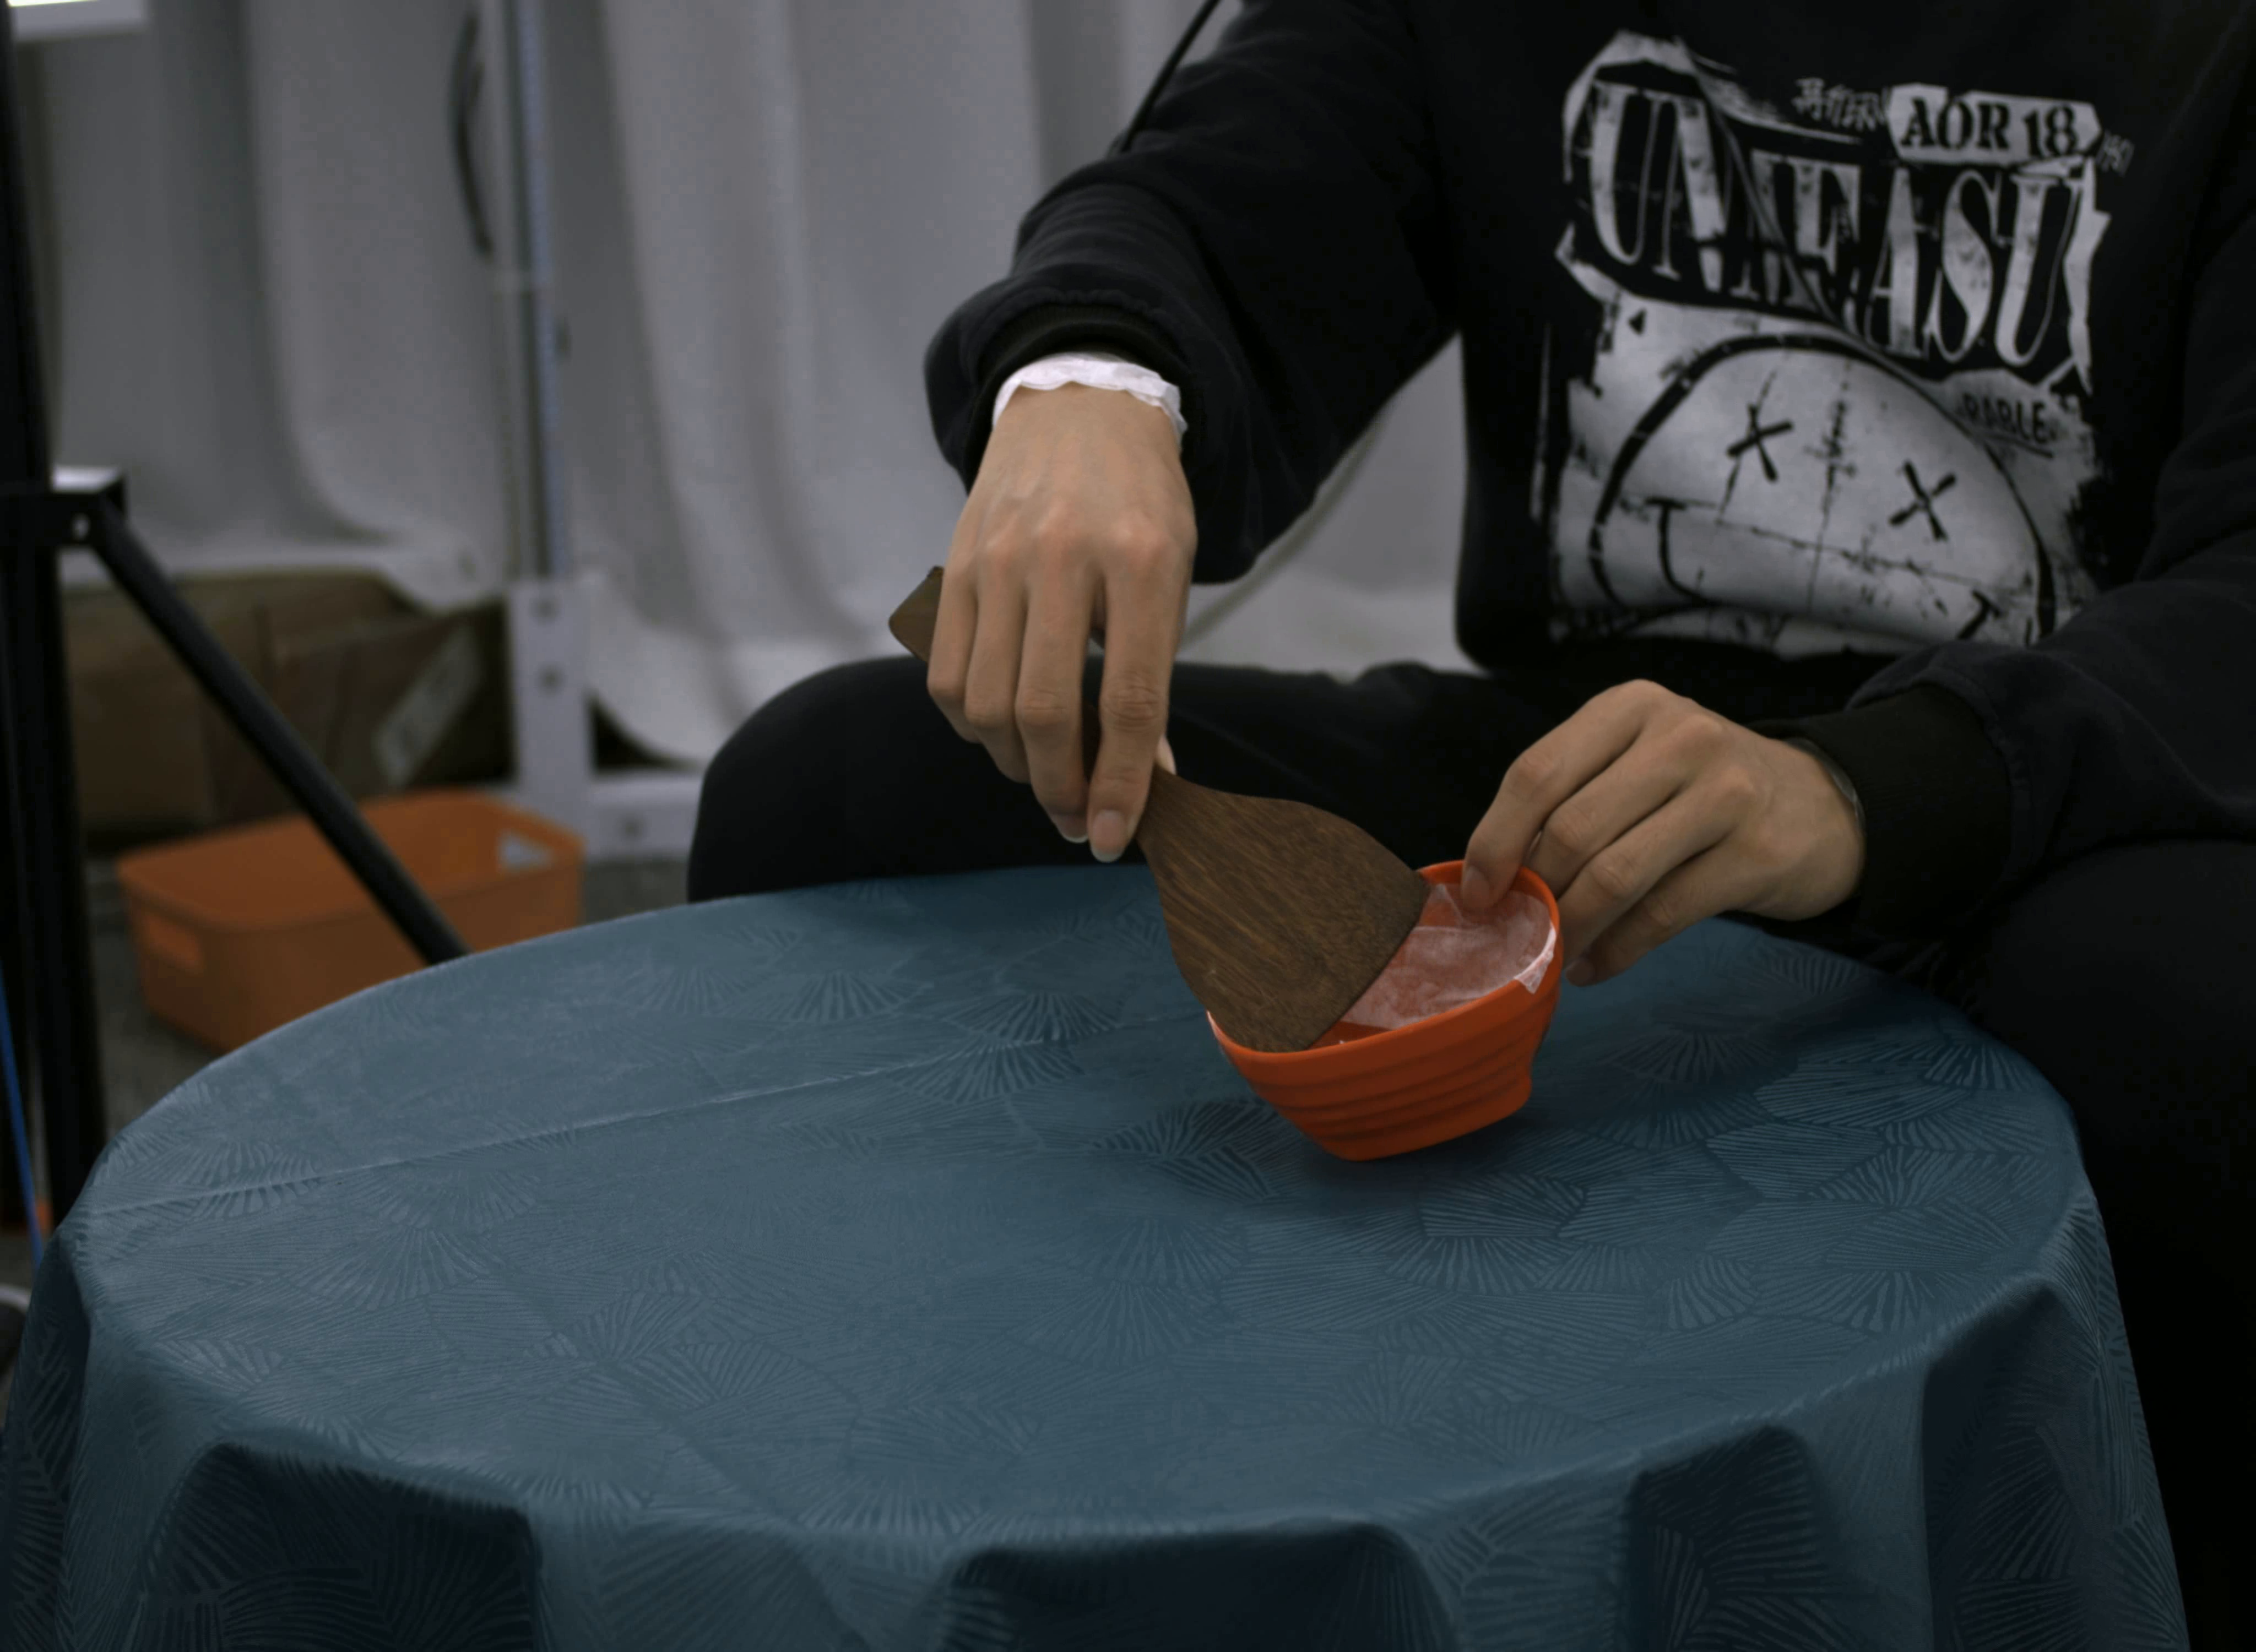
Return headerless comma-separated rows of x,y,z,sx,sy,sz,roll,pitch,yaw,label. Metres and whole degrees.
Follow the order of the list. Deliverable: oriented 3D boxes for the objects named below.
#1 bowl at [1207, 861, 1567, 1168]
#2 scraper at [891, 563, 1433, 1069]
0.084,0.061,1.589,0.119,0.051,0.120,-18,22,6,bowl
0.002,-0.012,1.608,0.215,0.076,0.010,42,0,29,scraper
